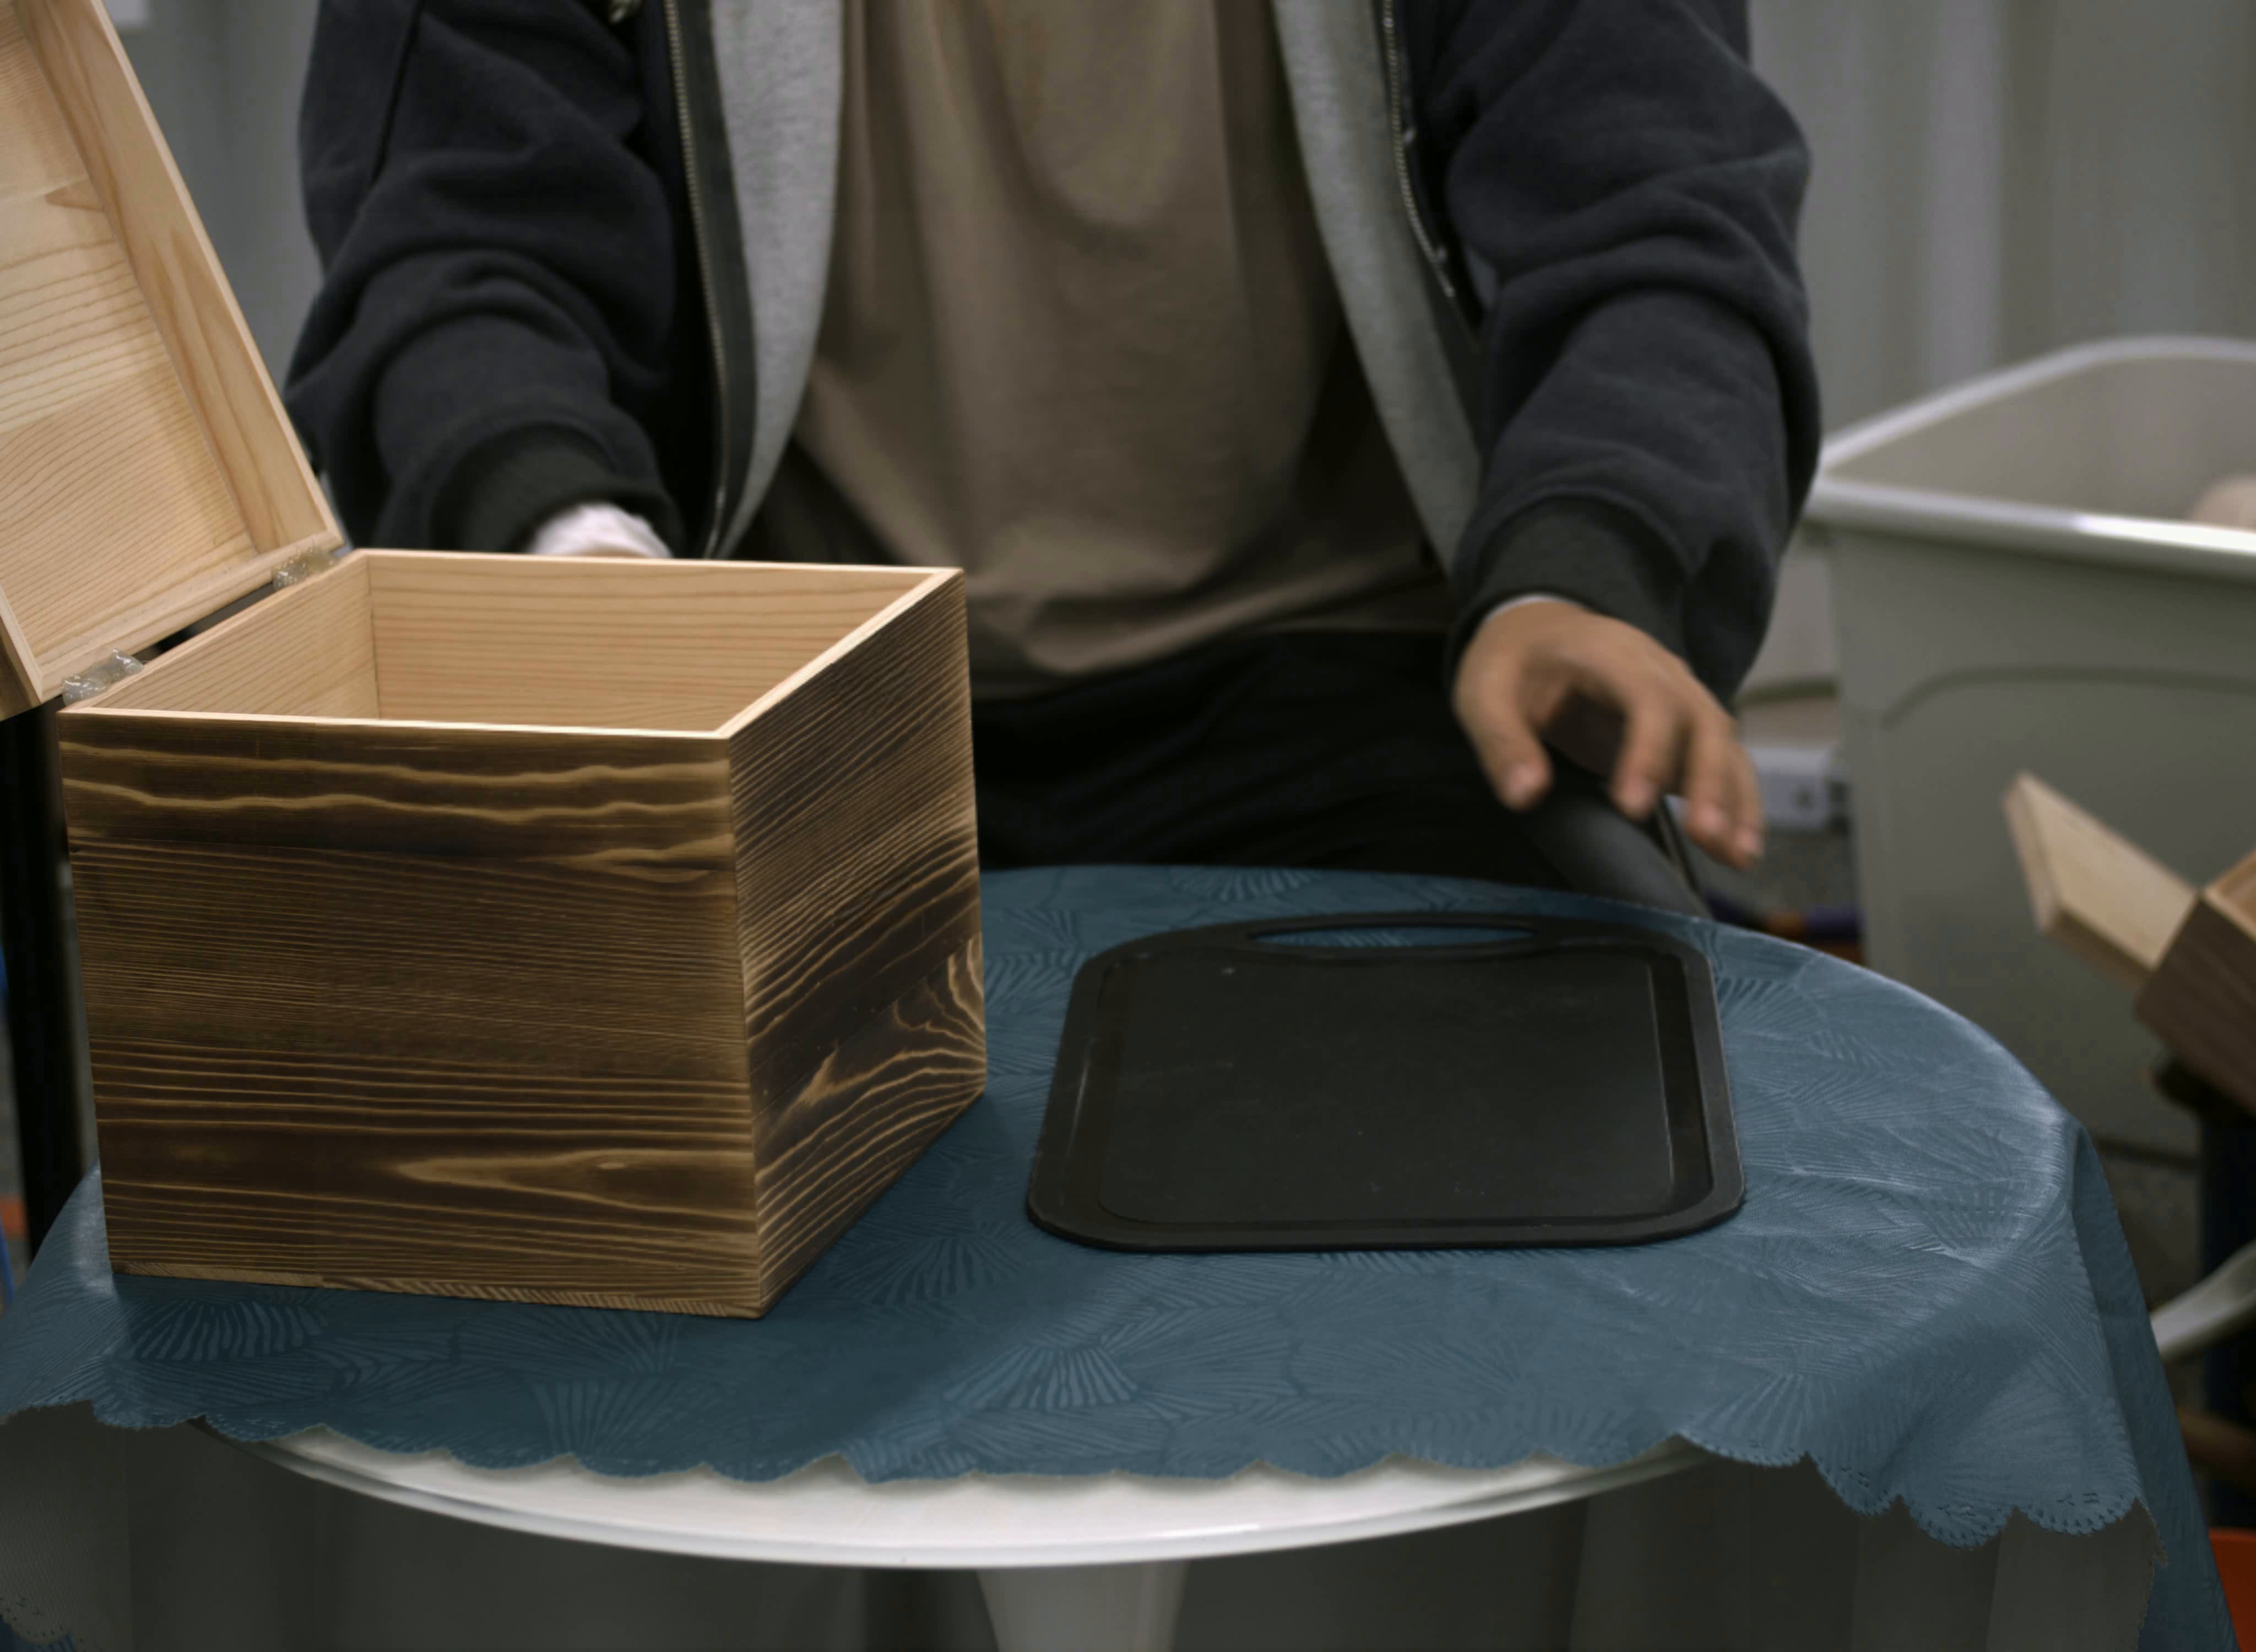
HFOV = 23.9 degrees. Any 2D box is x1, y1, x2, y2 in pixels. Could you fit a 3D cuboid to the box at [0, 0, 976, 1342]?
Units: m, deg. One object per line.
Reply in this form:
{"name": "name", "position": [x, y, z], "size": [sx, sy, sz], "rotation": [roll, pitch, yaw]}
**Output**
{"name": "box", "position": [-0.223, -0.069, 1.564], "size": [0.325, 0.375, 0.207], "rotation": [3, 16, 18]}

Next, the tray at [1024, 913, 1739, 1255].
{"name": "tray", "position": [0.079, 0.074, 1.654], "size": [0.211, 0.010, 0.326], "rotation": [-1, 16, 4]}
